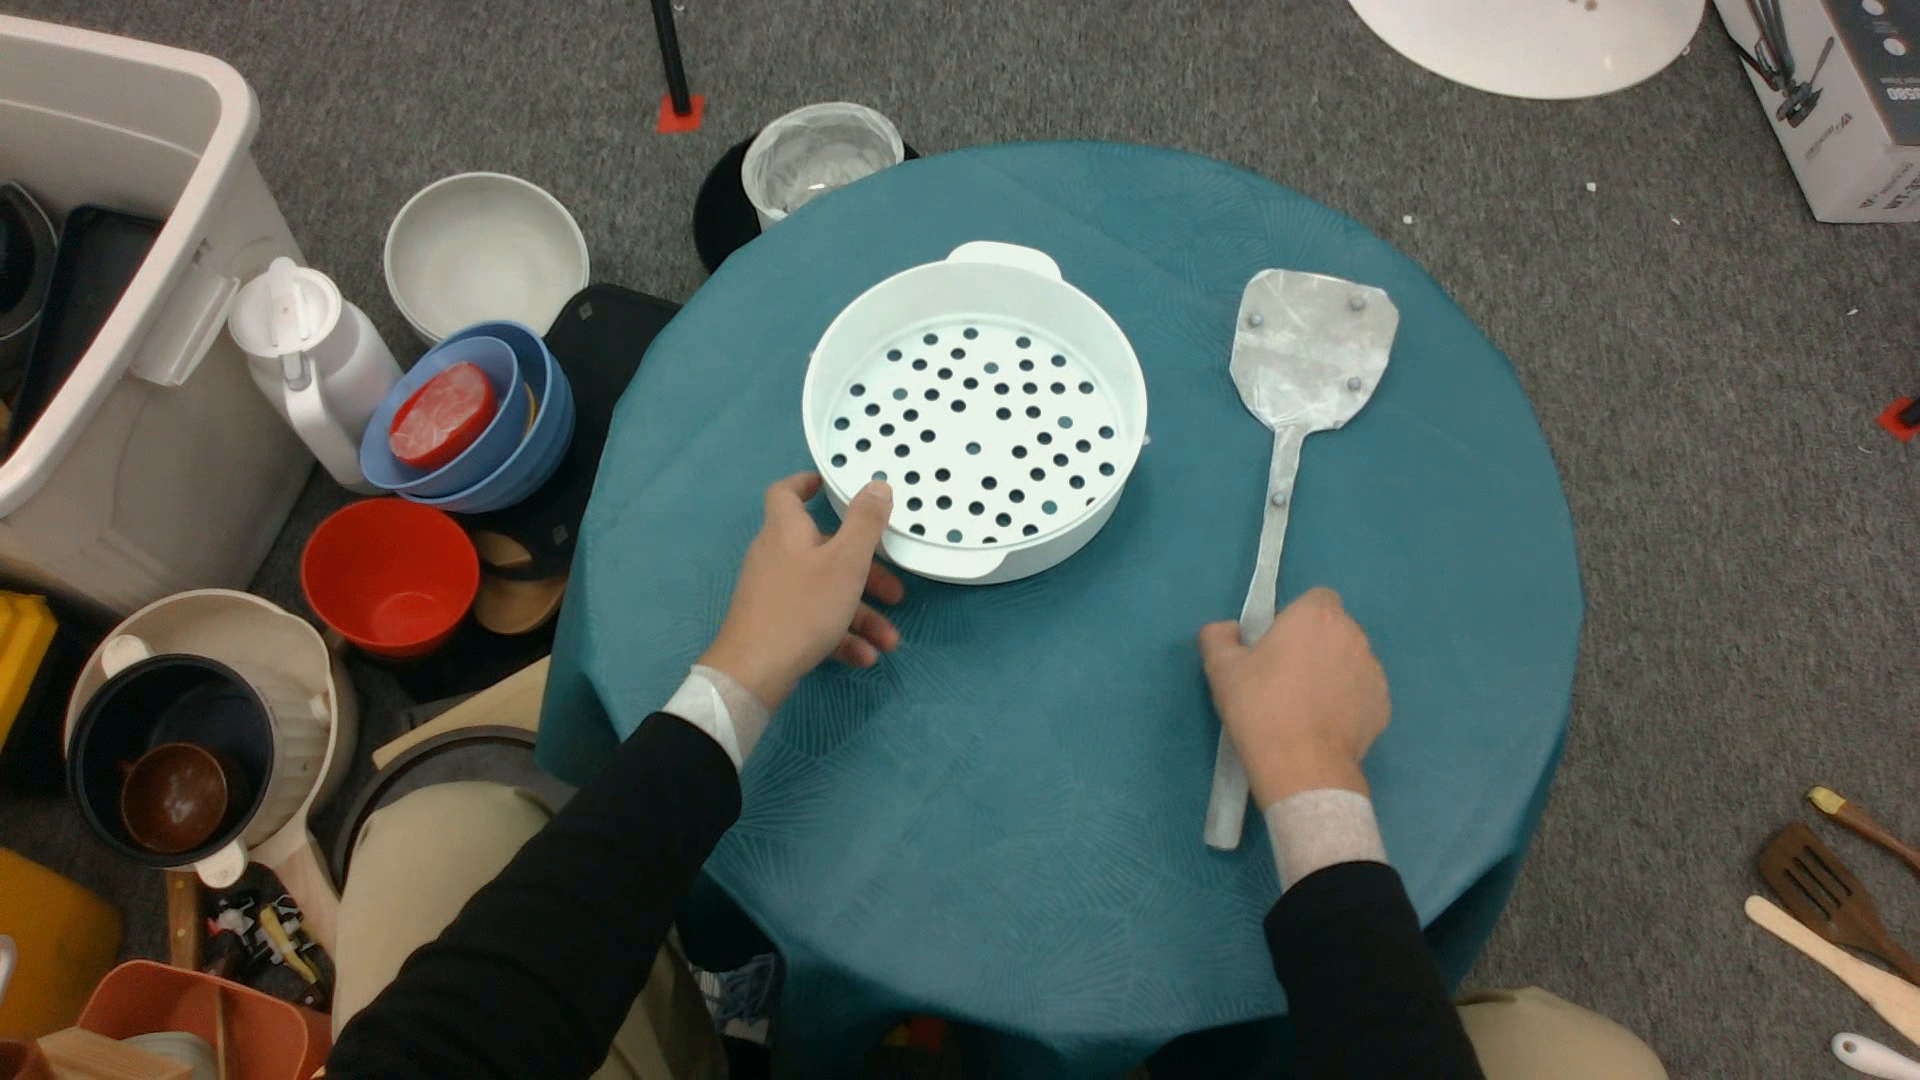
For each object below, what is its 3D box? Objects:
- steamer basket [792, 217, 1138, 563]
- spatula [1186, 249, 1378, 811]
[{"bbox_3d":[0.003,-0.083,0.827,0.202,0.069,0.231,10,66,5],"label":"steamer basket"},{"bbox_3d":[0.177,-0.017,0.812,0.098,0.044,0.366,12,62,7],"label":"spatula"}]
